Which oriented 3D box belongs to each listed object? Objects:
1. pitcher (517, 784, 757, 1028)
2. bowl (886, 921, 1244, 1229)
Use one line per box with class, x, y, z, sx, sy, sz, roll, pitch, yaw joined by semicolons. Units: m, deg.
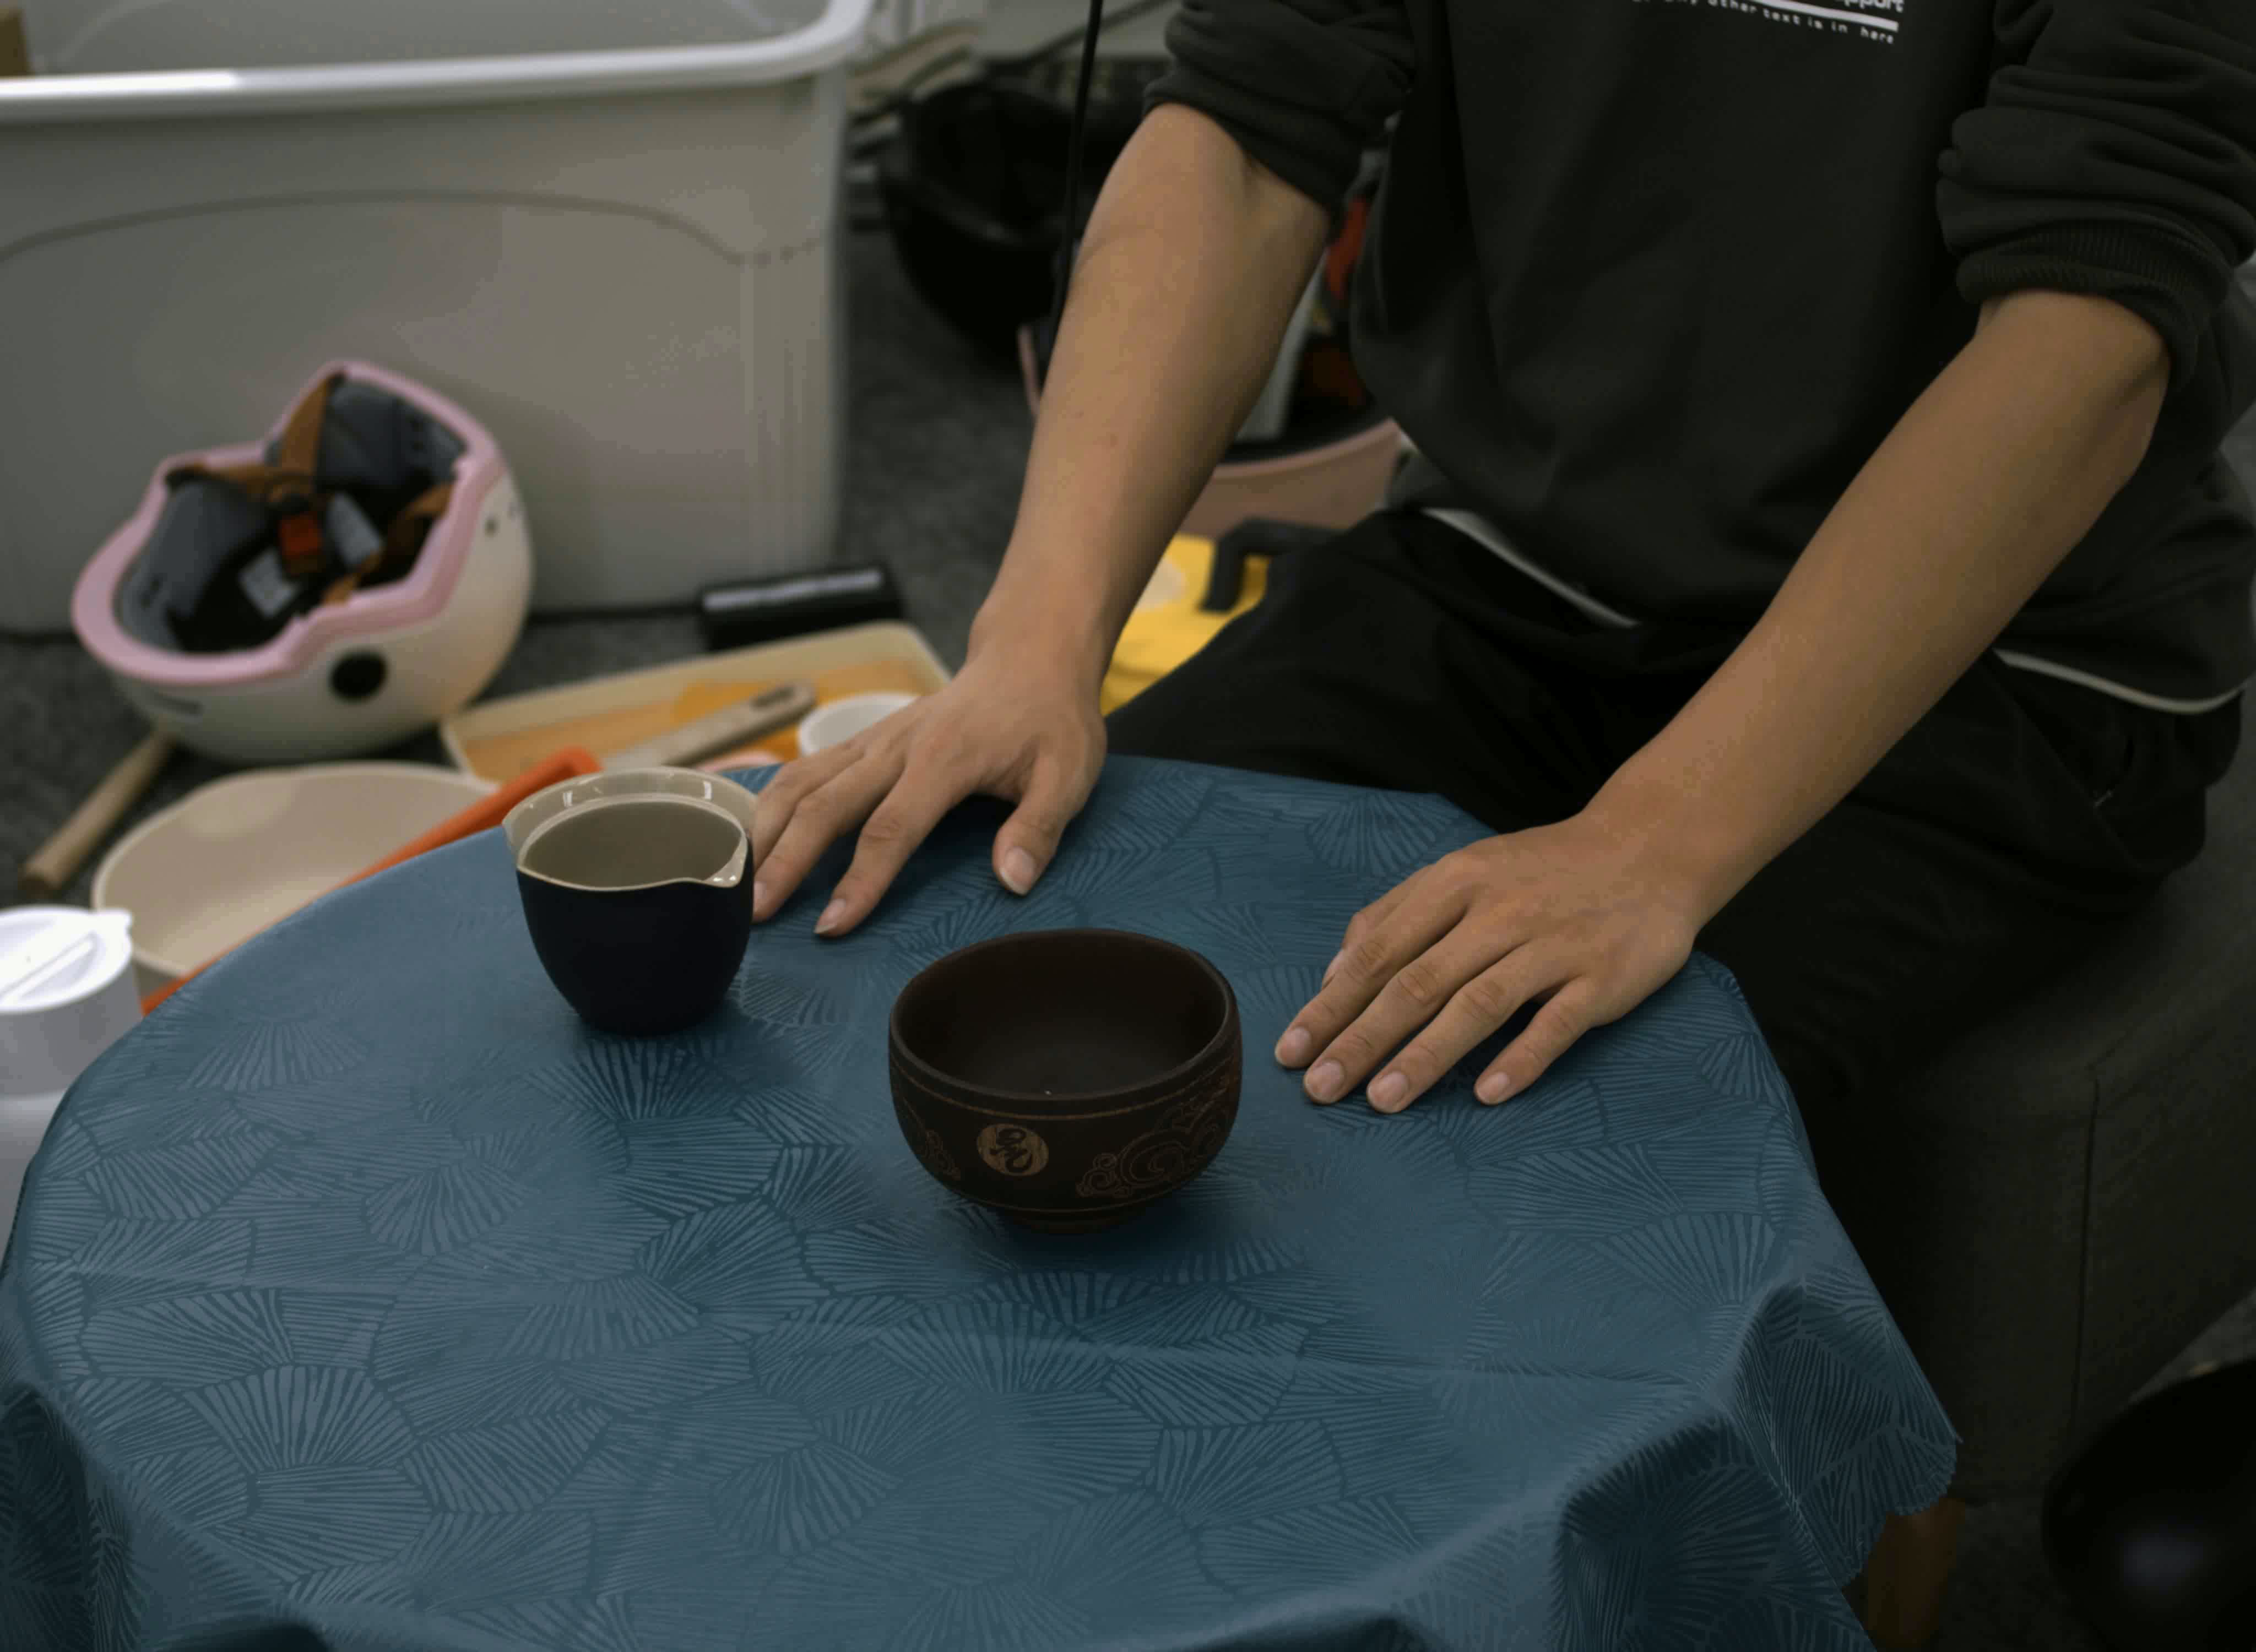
pitcher;-0.168;0.030;1.975;0.084;0.070;0.096;-20;31;-33
bowl;-0.020;0.089;1.852;0.117;0.069;0.120;-3;28;2
